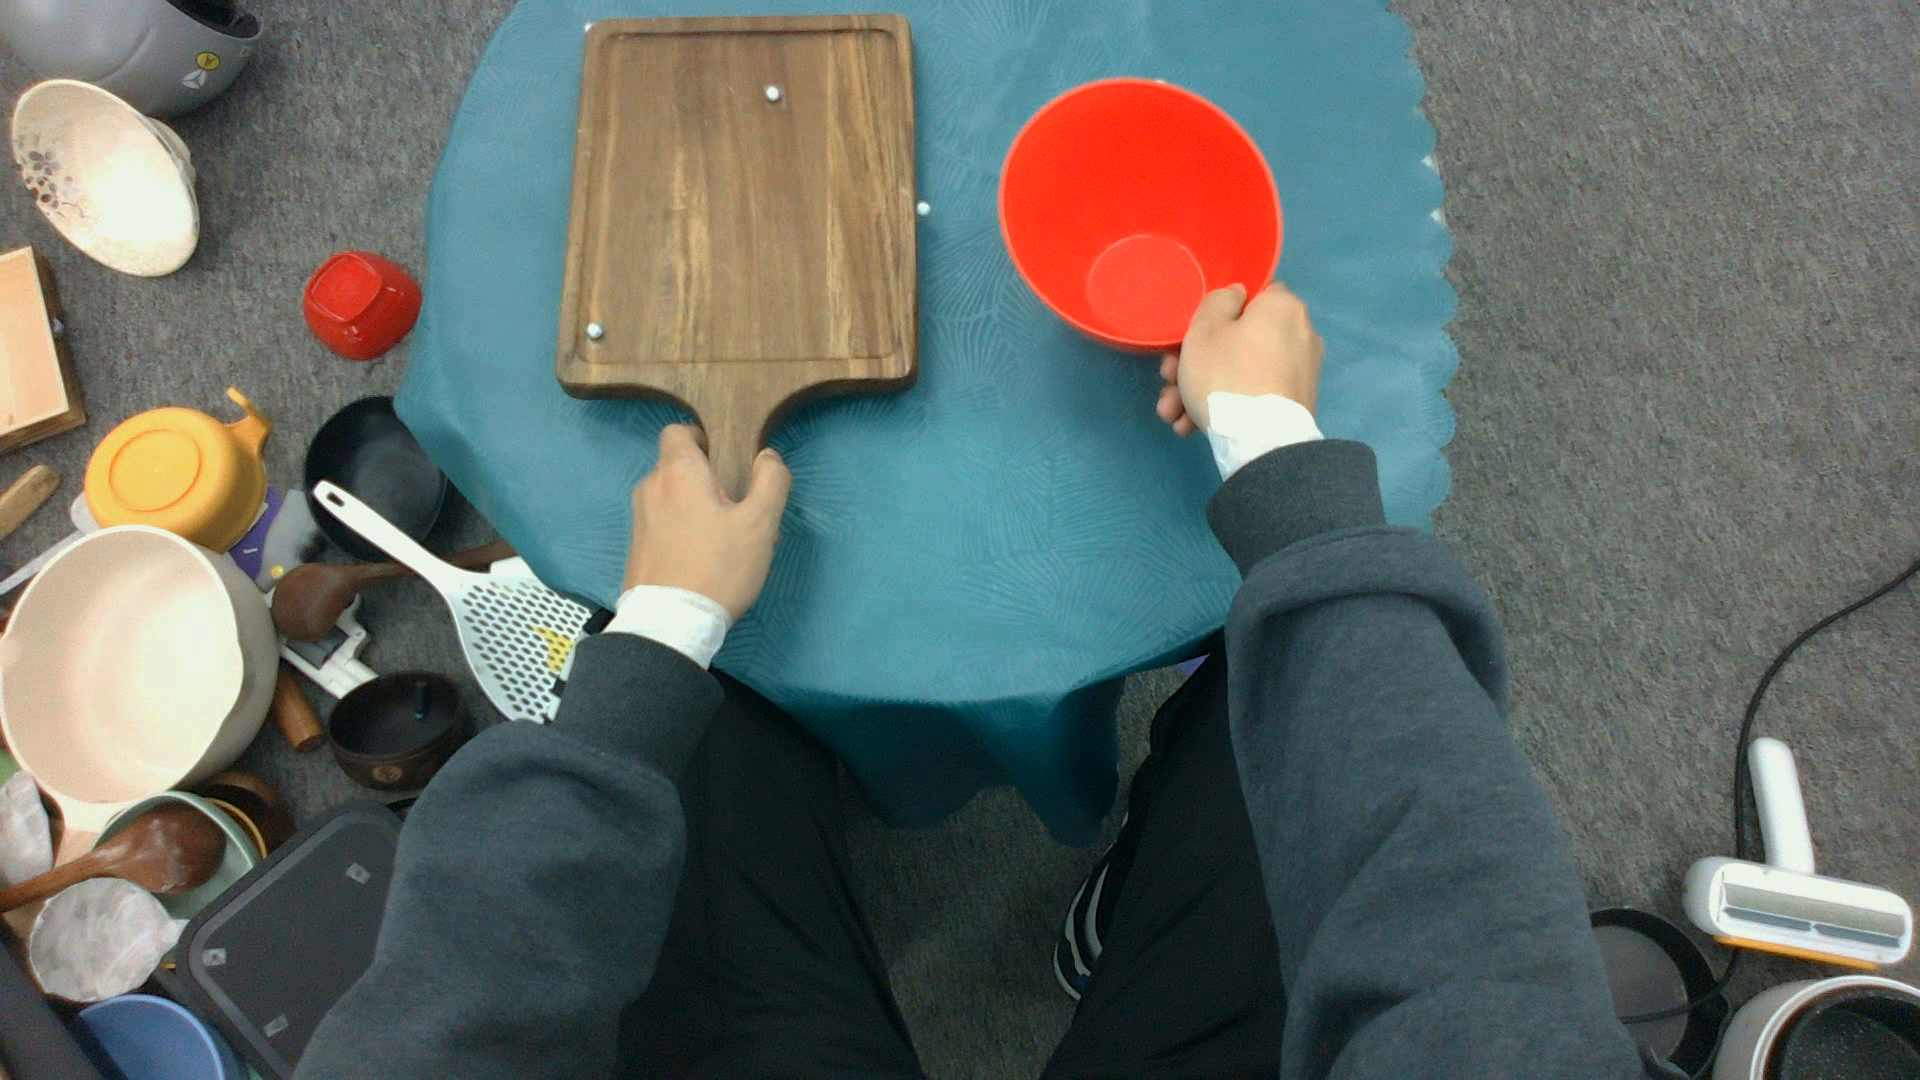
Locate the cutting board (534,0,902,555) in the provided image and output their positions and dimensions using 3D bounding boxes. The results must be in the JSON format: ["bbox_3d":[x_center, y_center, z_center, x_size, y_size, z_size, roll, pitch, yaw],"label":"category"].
[{"bbox_3d":[-0.135,-0.159,0.773,0.201,0.023,0.353,-2,68,-1],"label":"cutting board"}]

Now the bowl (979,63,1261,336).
[{"bbox_3d":[0.085,-0.169,0.748,0.148,0.104,0.148,0,74,1],"label":"bowl"}]
